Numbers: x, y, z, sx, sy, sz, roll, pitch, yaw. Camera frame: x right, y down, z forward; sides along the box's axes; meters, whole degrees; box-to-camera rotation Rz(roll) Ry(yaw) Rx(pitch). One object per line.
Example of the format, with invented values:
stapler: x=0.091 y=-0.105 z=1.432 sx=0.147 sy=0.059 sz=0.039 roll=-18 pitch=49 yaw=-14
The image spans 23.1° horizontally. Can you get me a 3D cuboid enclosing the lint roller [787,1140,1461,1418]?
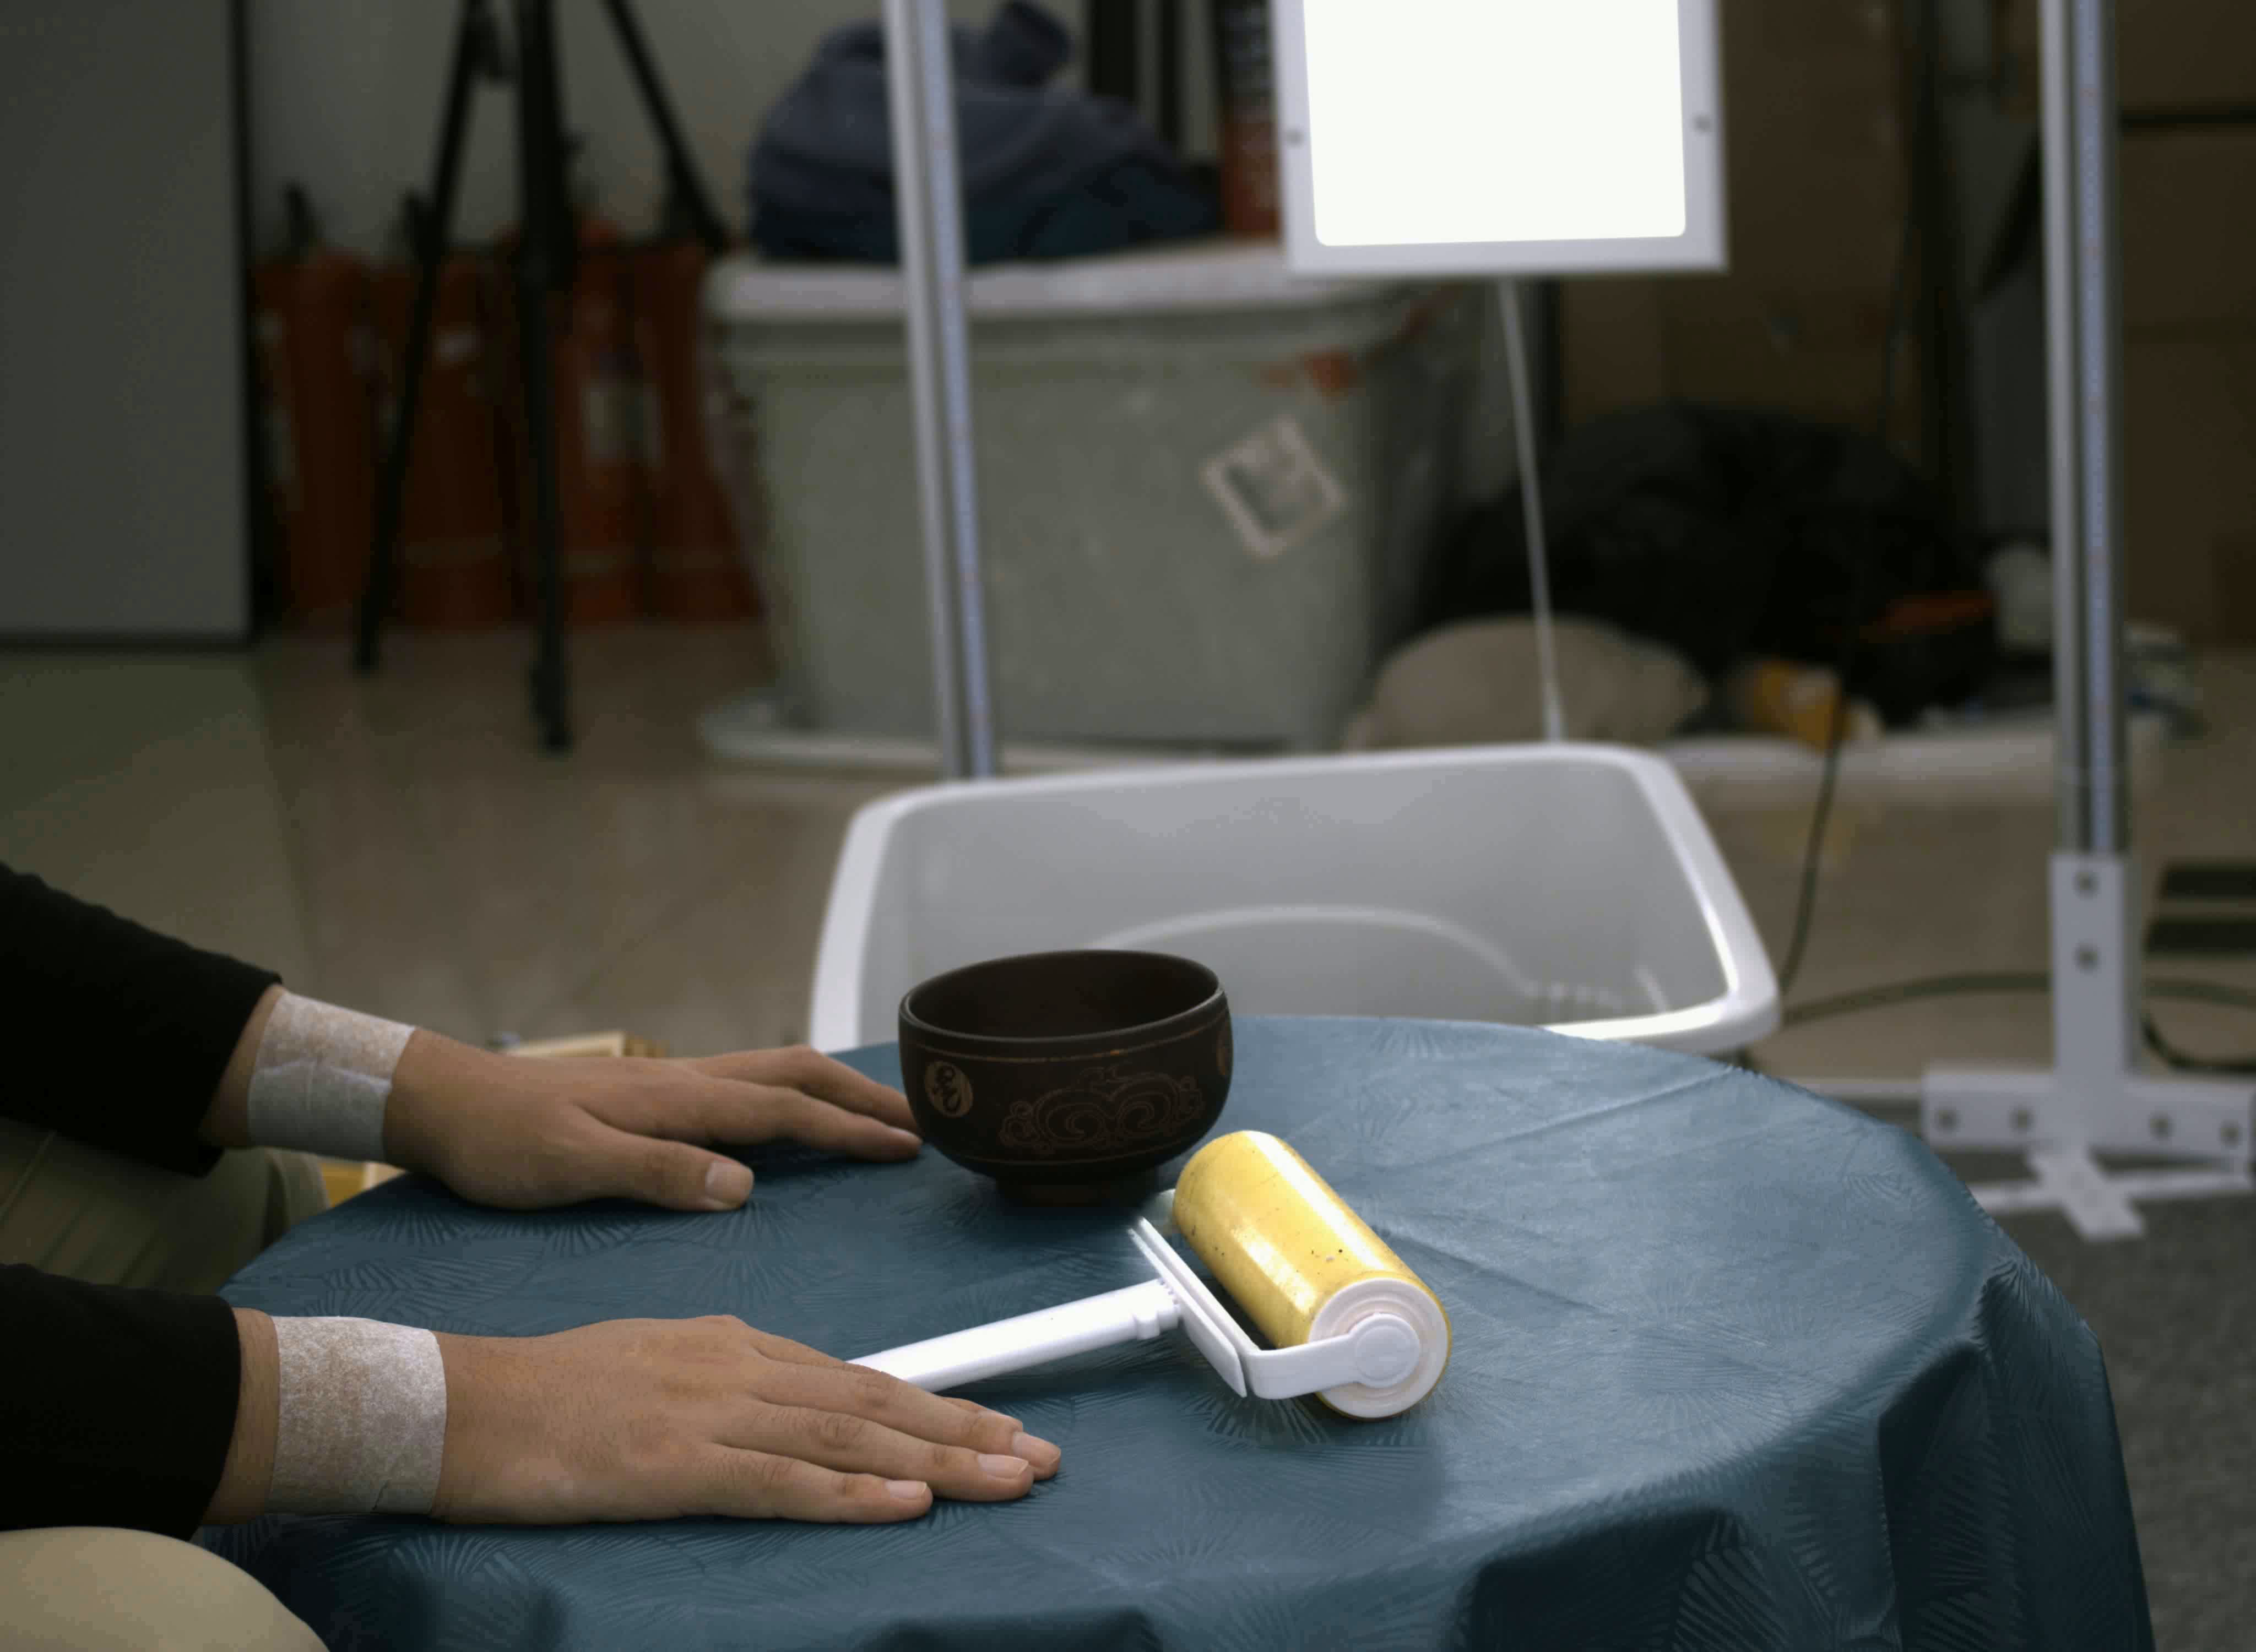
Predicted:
lint roller: x=-0.012 y=0.147 z=1.711 sx=0.189 sy=0.051 sz=0.176 roll=-3 pitch=12 yaw=-14

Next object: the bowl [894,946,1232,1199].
bowl: x=-0.021 y=0.088 z=1.905 sx=0.118 sy=0.070 sz=0.118 roll=-4 pitch=13 yaw=0
